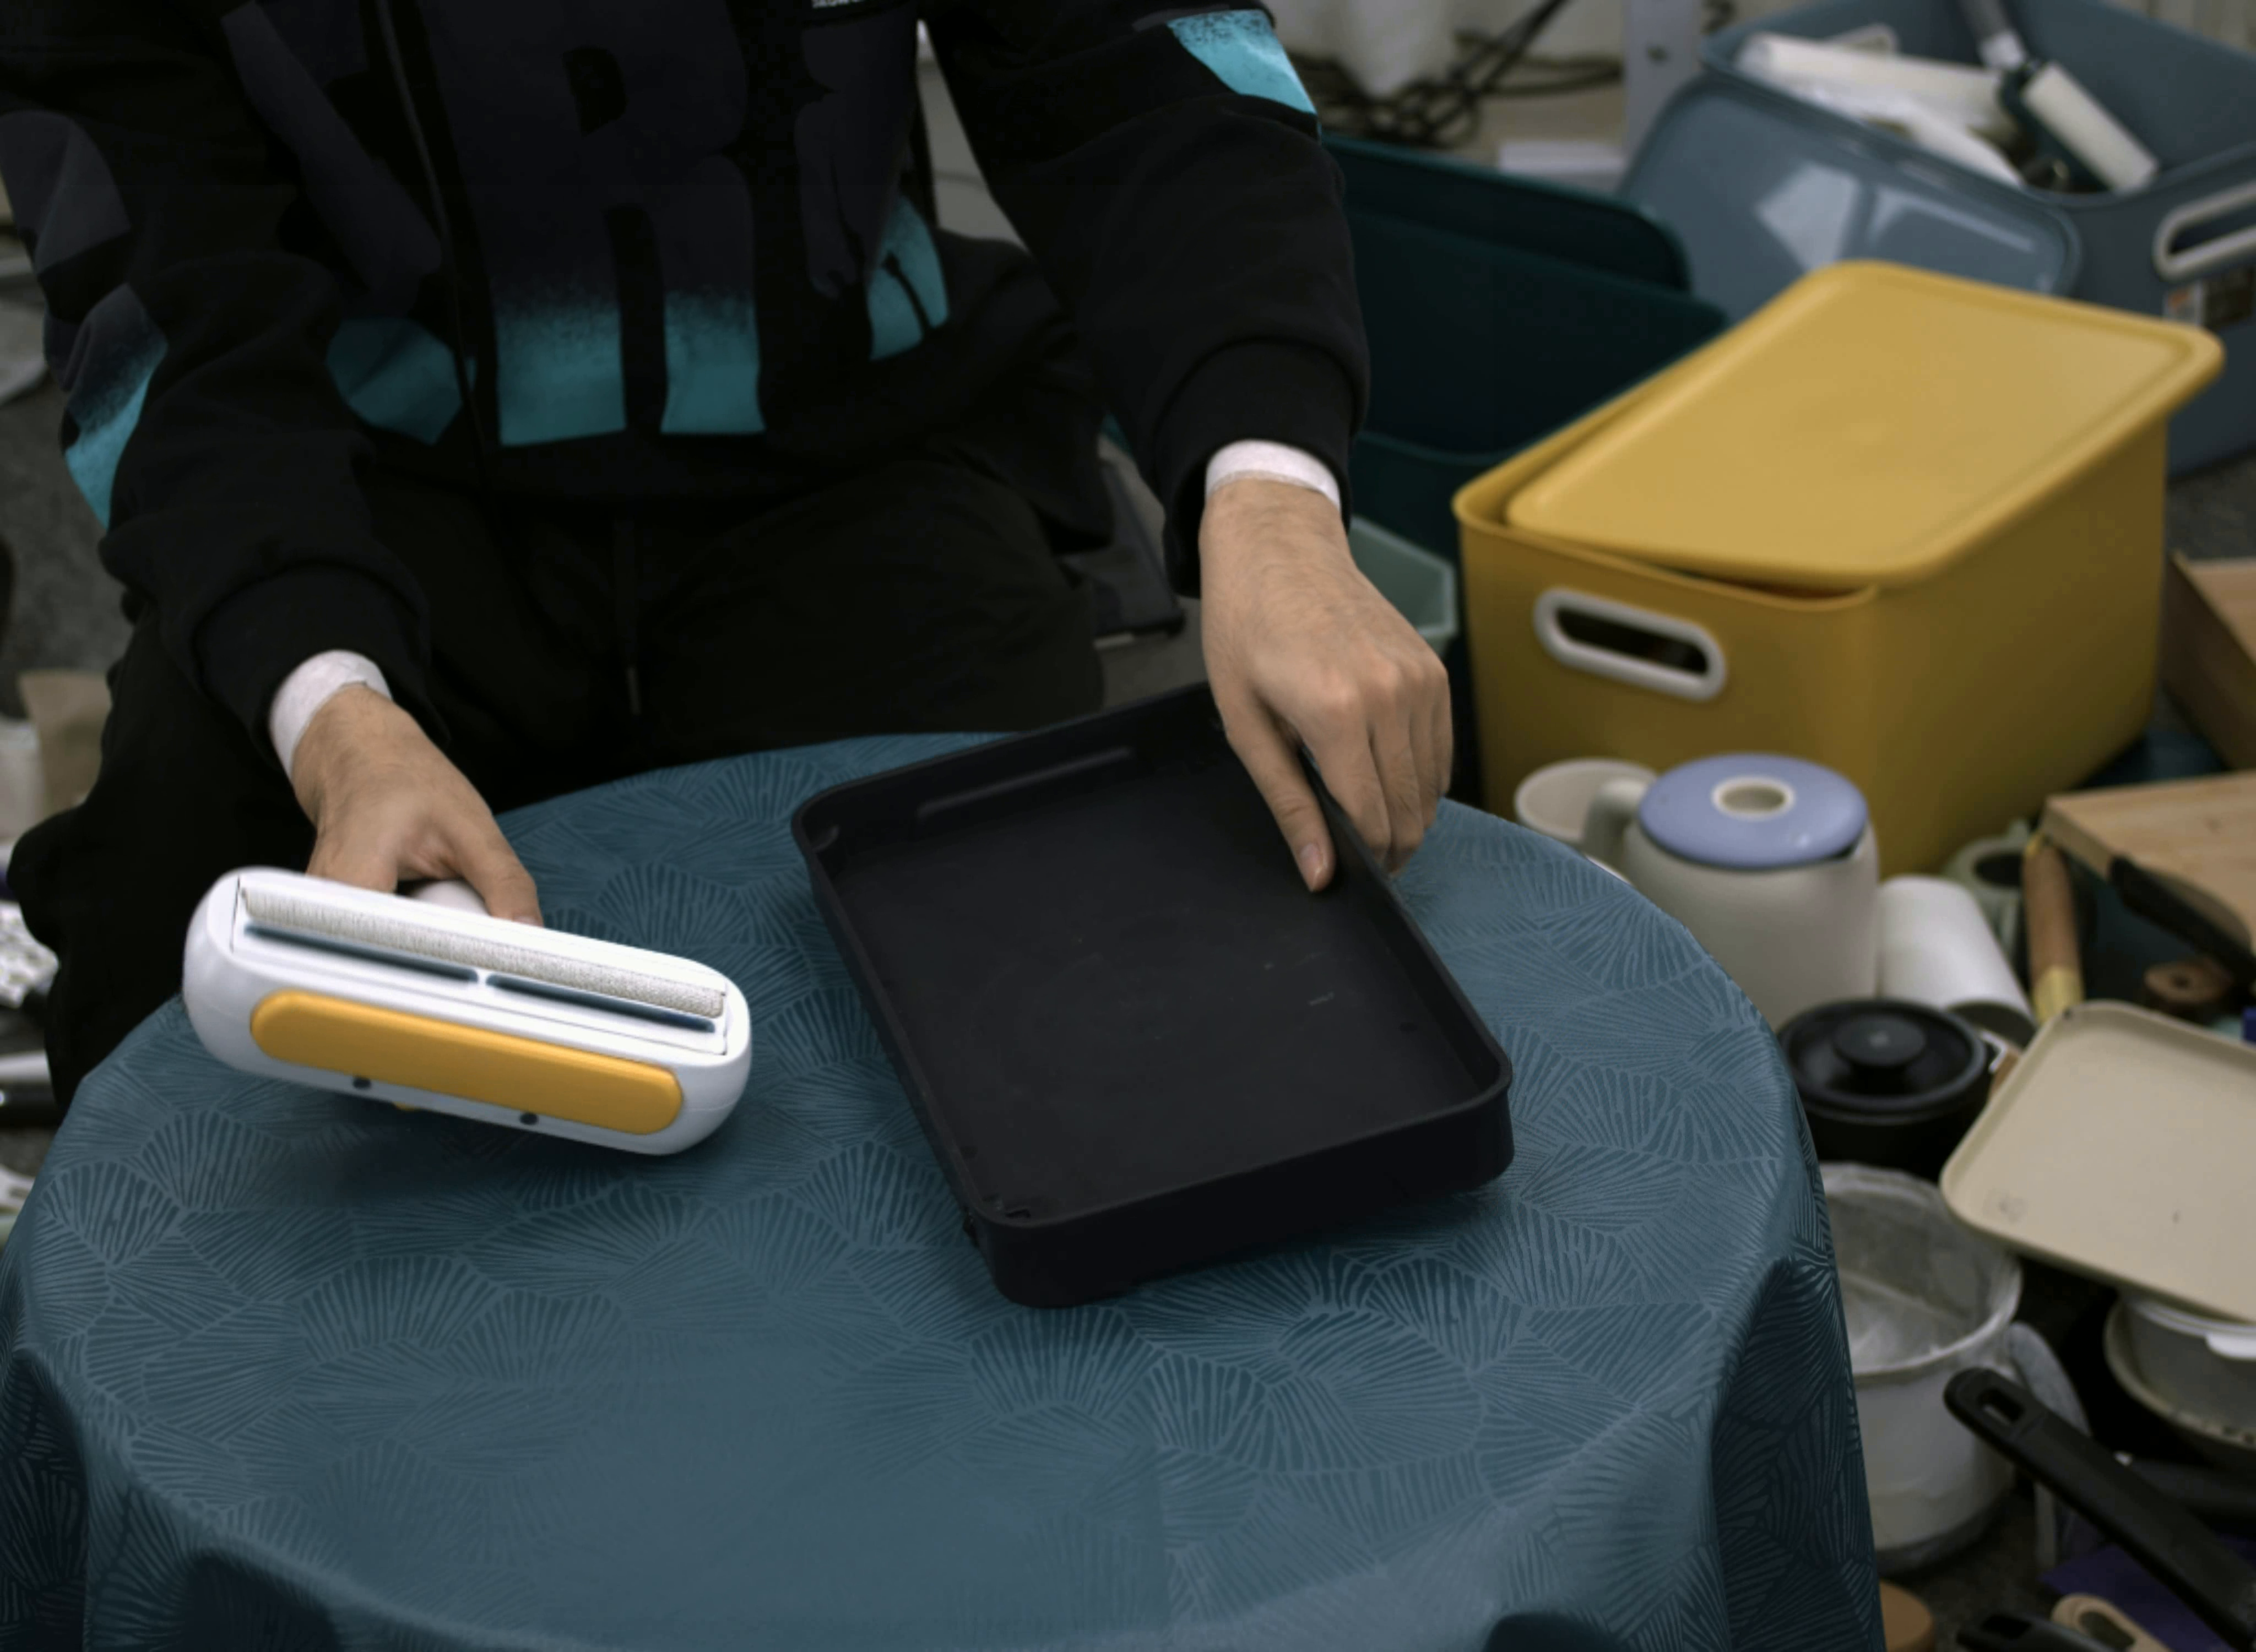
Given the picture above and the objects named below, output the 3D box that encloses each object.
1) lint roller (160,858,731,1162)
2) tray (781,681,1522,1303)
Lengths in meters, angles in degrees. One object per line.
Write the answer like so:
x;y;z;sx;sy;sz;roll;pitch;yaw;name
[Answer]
-0.233;0.045;1.935;0.192;0.073;0.195;10;24;-9;lint roller
0.003;0.051;1.941;0.184;0.036;0.321;-15;30;-11;tray
